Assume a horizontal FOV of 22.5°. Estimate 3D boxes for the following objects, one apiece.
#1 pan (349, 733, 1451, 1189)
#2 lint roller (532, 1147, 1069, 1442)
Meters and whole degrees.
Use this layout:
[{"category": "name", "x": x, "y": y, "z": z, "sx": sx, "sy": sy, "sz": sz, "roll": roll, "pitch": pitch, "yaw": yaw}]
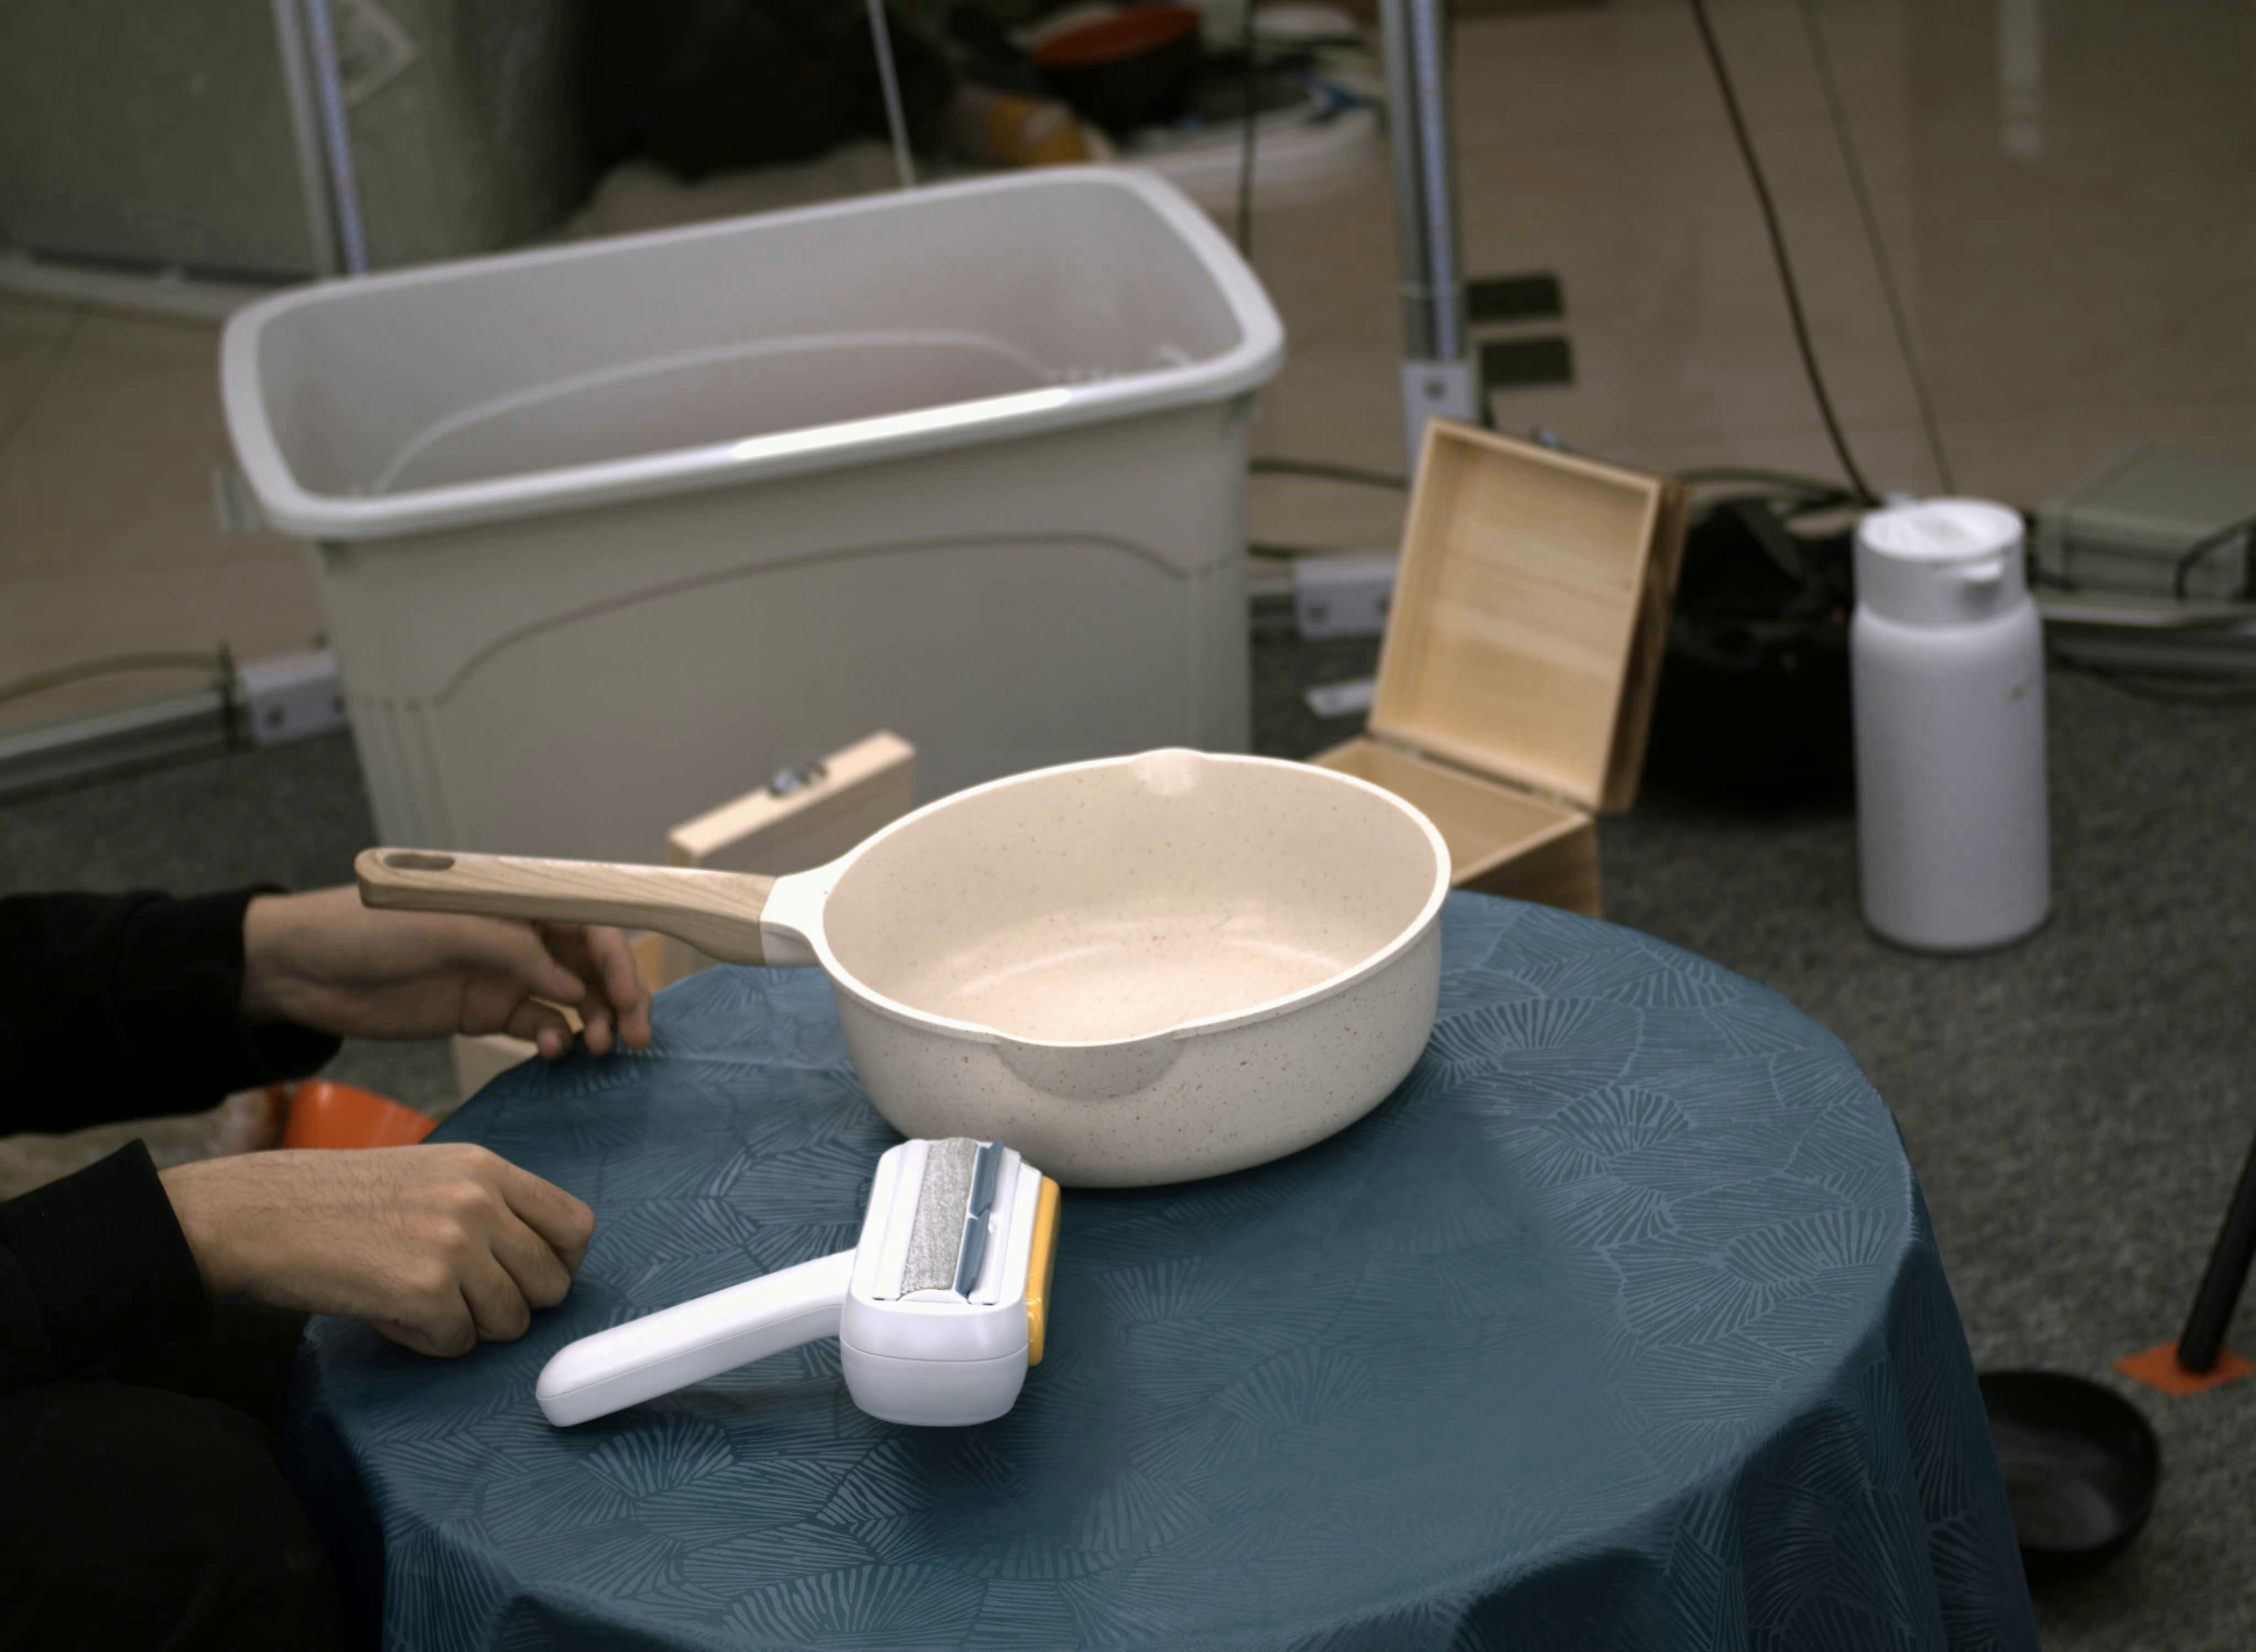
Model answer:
[{"category": "pan", "x": -0.087, "y": 0.054, "z": 2.227, "sx": 0.434, "sy": 0.104, "sz": 0.259, "roll": -2, "pitch": 28, "yaw": 9}, {"category": "lint roller", "x": -0.121, "y": 0.174, "z": 2.017, "sx": 0.192, "sy": 0.075, "sz": 0.190, "roll": -5, "pitch": 19, "yaw": 7}]
